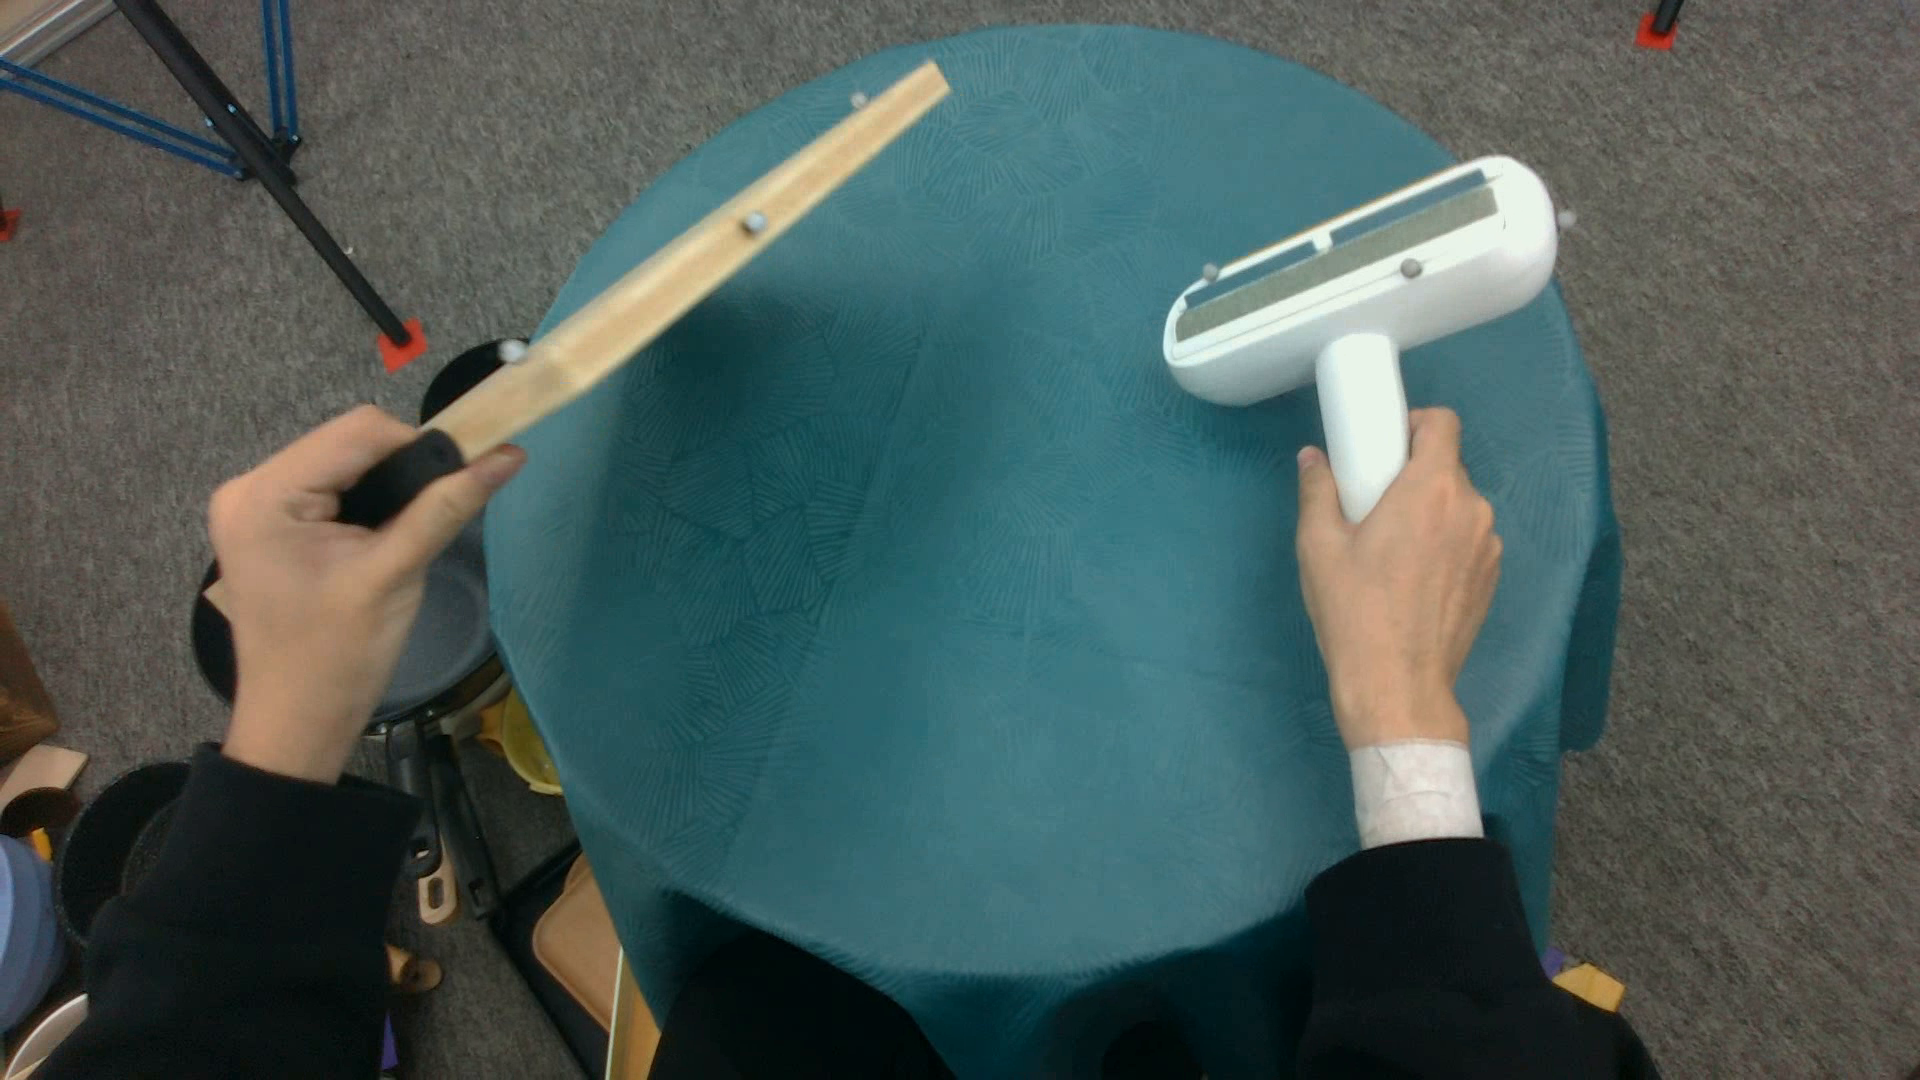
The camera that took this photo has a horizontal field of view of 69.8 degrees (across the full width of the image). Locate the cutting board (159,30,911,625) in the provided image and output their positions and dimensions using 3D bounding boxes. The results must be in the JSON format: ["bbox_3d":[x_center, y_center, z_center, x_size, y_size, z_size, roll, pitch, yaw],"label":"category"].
[{"bbox_3d":[-0.172,-0.109,0.621,0.249,0.023,0.350,-26,21,34],"label":"cutting board"}]

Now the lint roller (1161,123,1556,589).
[{"bbox_3d":[0.178,-0.075,0.631,0.192,0.074,0.193,-9,67,42],"label":"lint roller"}]
